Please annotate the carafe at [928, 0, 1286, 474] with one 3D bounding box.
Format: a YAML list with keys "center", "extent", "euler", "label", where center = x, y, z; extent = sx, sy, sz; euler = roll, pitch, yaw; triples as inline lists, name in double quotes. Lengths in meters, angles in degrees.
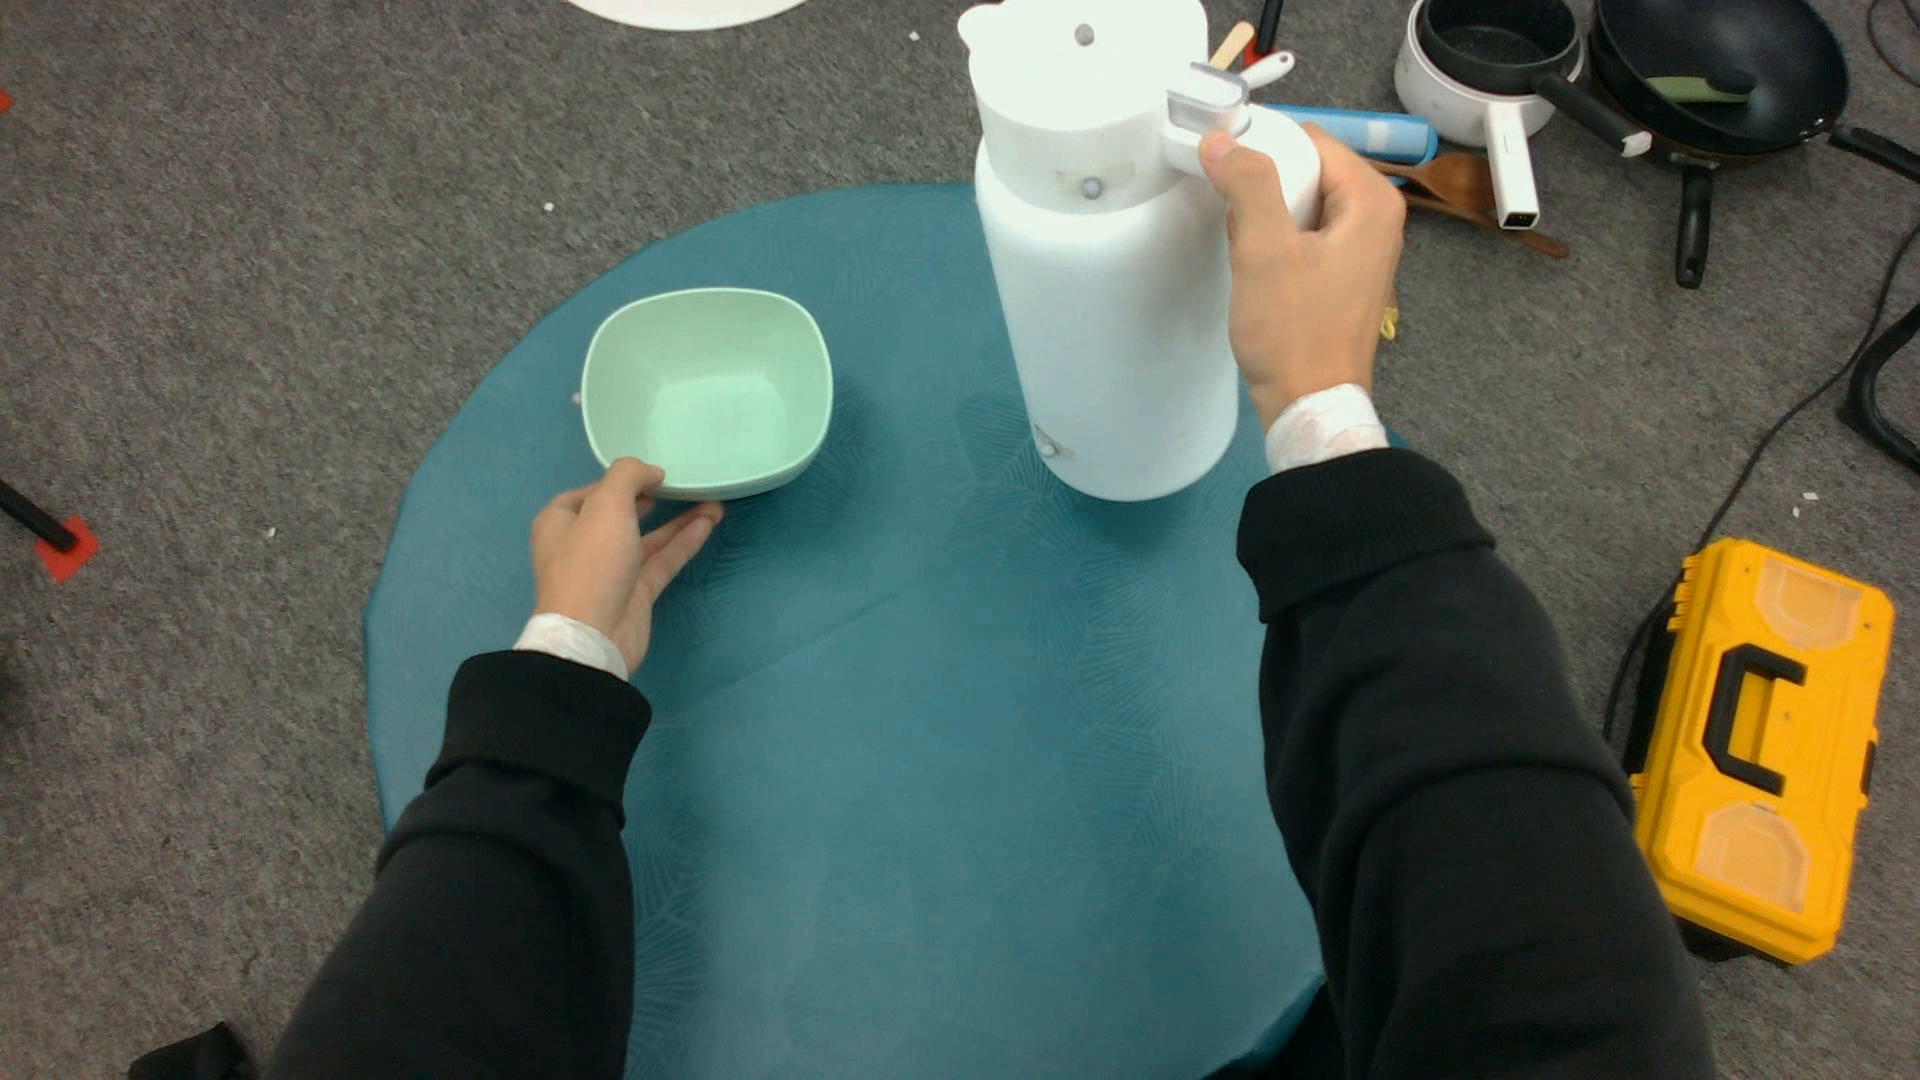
- center: [0.076, -0.142, 0.675]
  extent: [0.173, 0.268, 0.124]
  euler: [30, 67, 24]
  label: "carafe"

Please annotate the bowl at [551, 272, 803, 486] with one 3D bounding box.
- center: [-0.160, -0.083, 0.794]
  extent: [0.151, 0.058, 0.152]
  euler: [2, 60, -3]
  label: "bowl"
